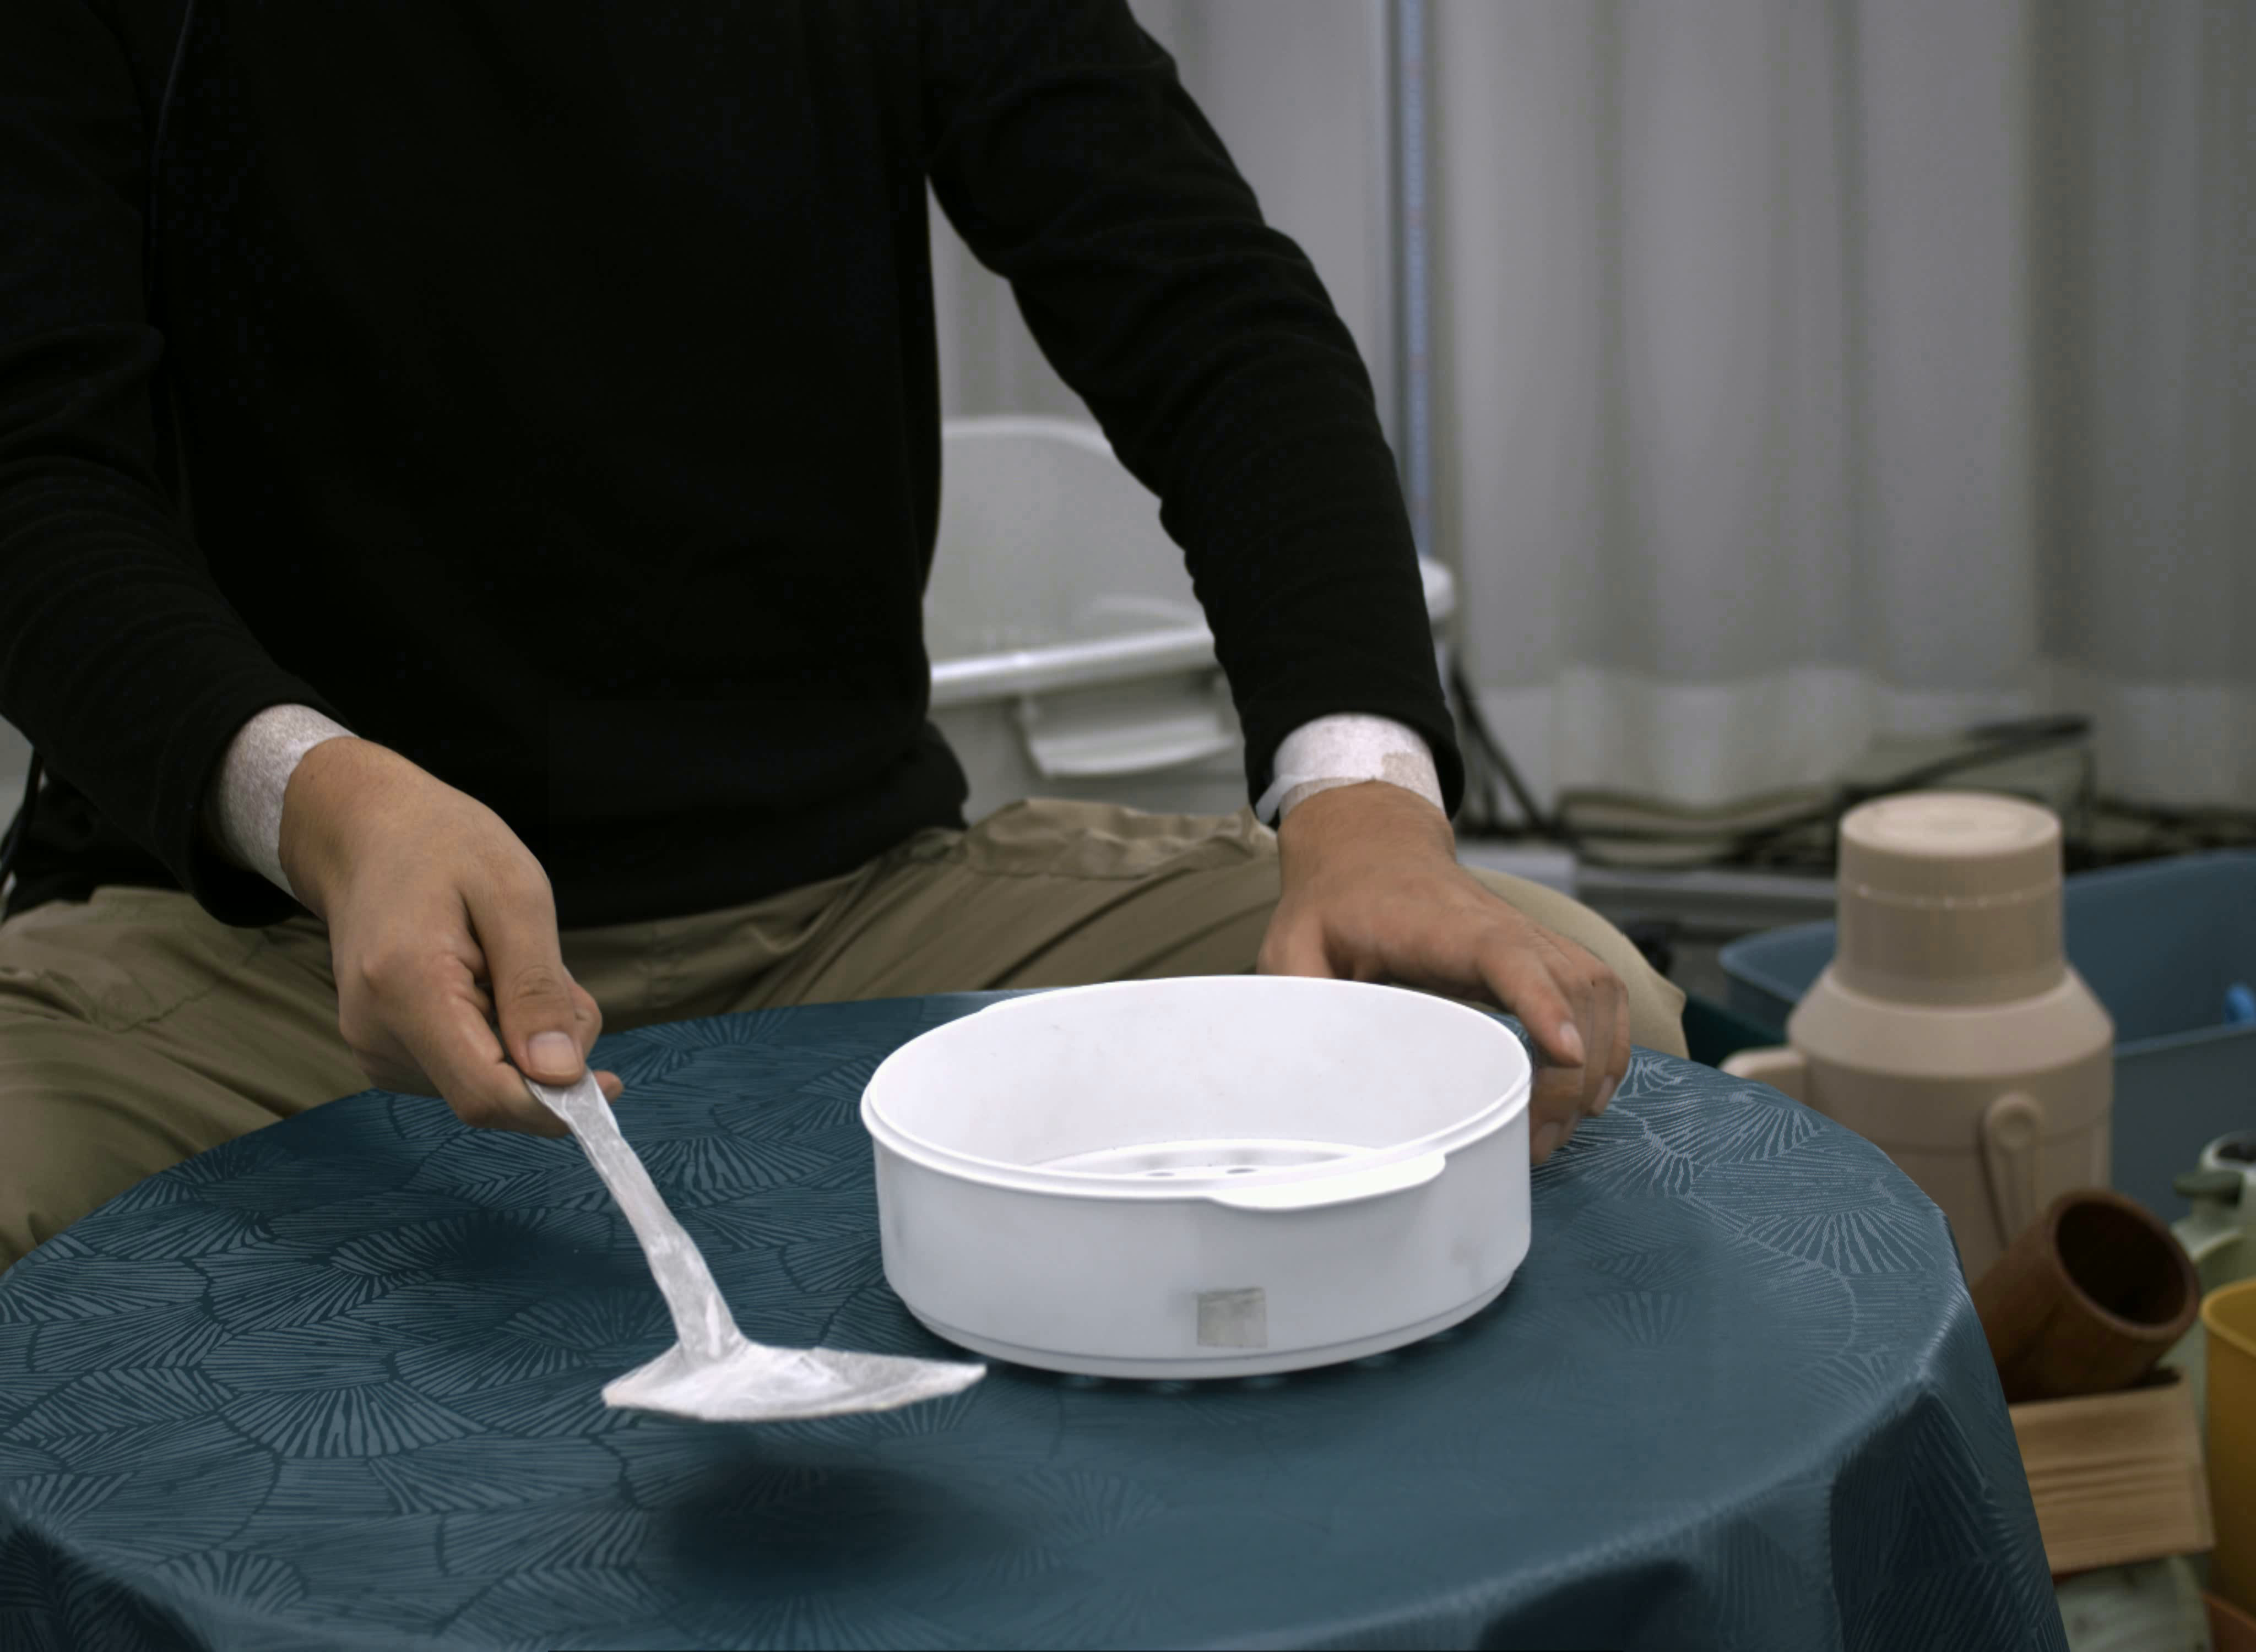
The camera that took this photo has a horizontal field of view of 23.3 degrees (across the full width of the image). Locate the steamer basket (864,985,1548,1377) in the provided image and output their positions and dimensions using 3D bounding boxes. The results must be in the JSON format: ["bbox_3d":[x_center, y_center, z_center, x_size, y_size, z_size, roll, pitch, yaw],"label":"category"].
[{"bbox_3d":[0.024,0.104,1.614,0.201,0.069,0.232,-7,14,-20],"label":"steamer basket"}]

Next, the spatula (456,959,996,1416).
[{"bbox_3d":[-0.141,0.096,1.570,0.098,0.044,0.369,-6,25,-21],"label":"spatula"}]
